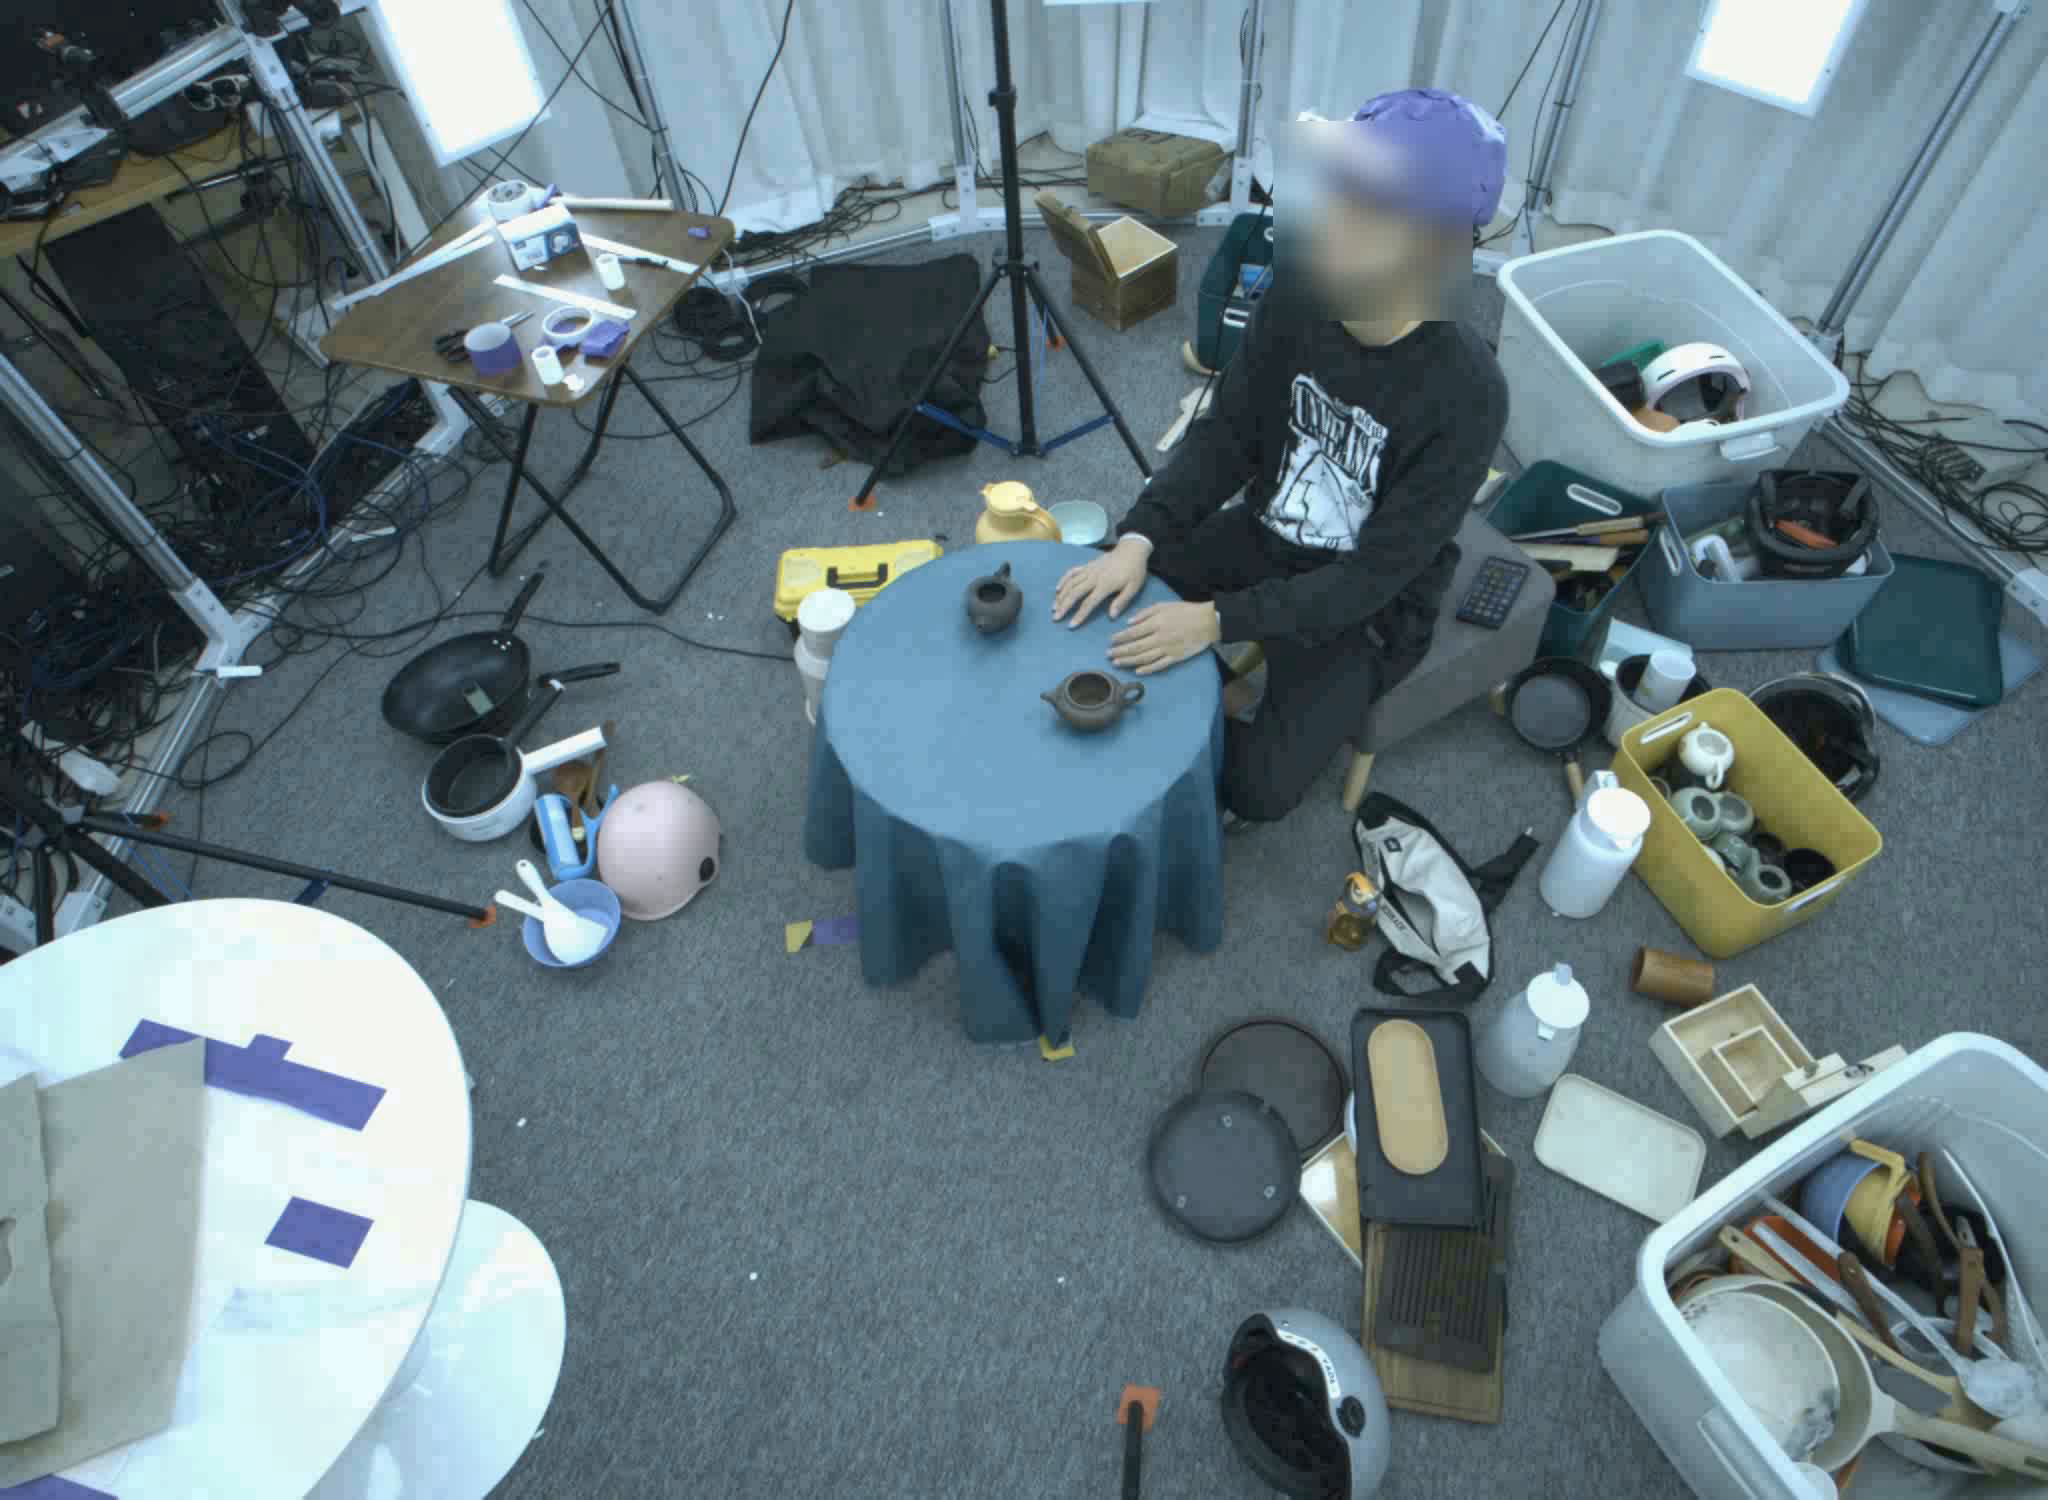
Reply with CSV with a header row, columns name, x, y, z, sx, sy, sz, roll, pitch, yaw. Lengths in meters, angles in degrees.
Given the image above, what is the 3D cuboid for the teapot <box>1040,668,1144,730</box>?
name,x,y,z,sx,sy,sz,roll,pitch,yaw
teapot,0.100,-0.077,1.801,0.154,0.054,0.101,-13,57,-7

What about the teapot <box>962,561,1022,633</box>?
name,x,y,z,sx,sy,sz,roll,pitch,yaw
teapot,-0.049,-0.233,1.912,0.092,0.065,0.154,13,56,9
